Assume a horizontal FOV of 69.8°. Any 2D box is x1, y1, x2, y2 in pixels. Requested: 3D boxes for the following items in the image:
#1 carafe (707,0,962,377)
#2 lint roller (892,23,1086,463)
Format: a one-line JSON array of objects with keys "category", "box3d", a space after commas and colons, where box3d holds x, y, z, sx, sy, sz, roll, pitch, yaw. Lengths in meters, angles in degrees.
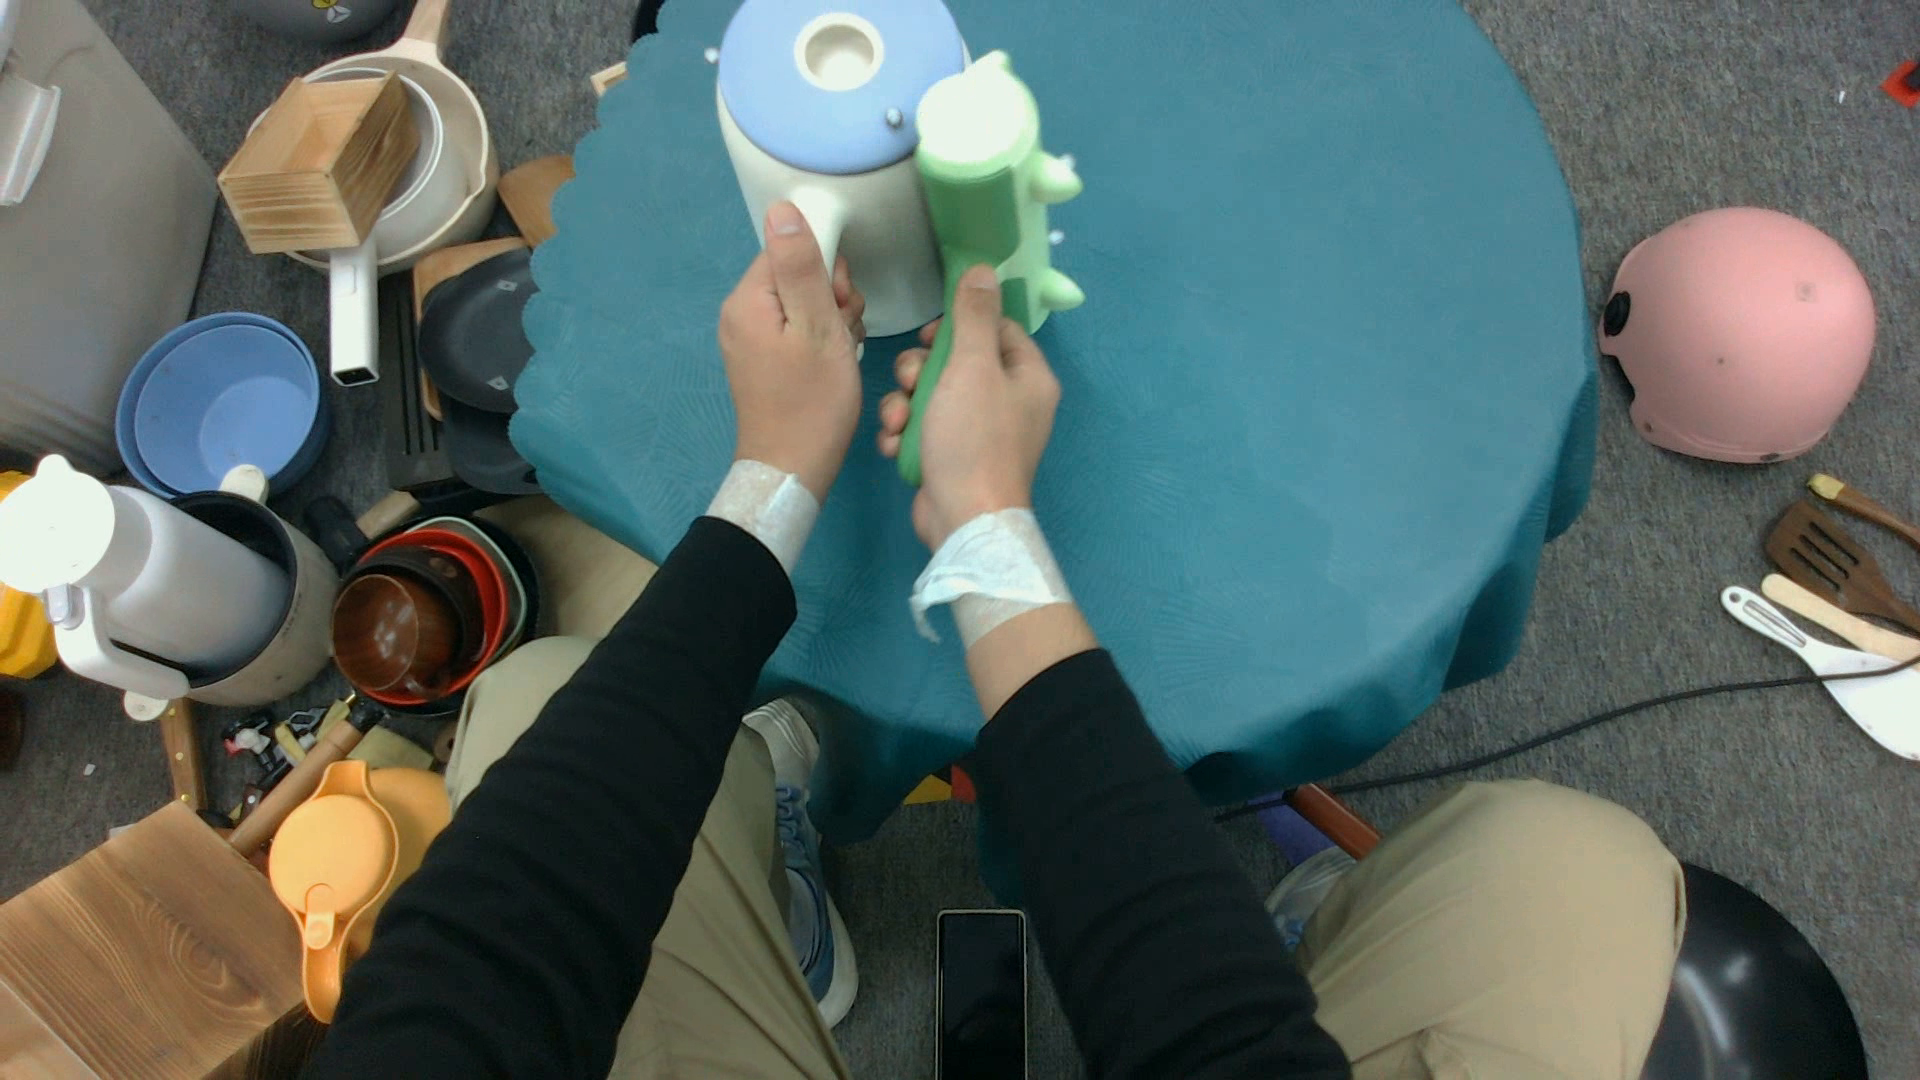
[{"category": "carafe", "box3d": [-0.064, -0.185, 0.735, 0.132, 0.182, 0.191, 8, 75, 4]}, {"category": "lint roller", "box3d": [0.017, -0.122, 0.685, 0.082, 0.198, 0.184, 5, 75, 5]}]
